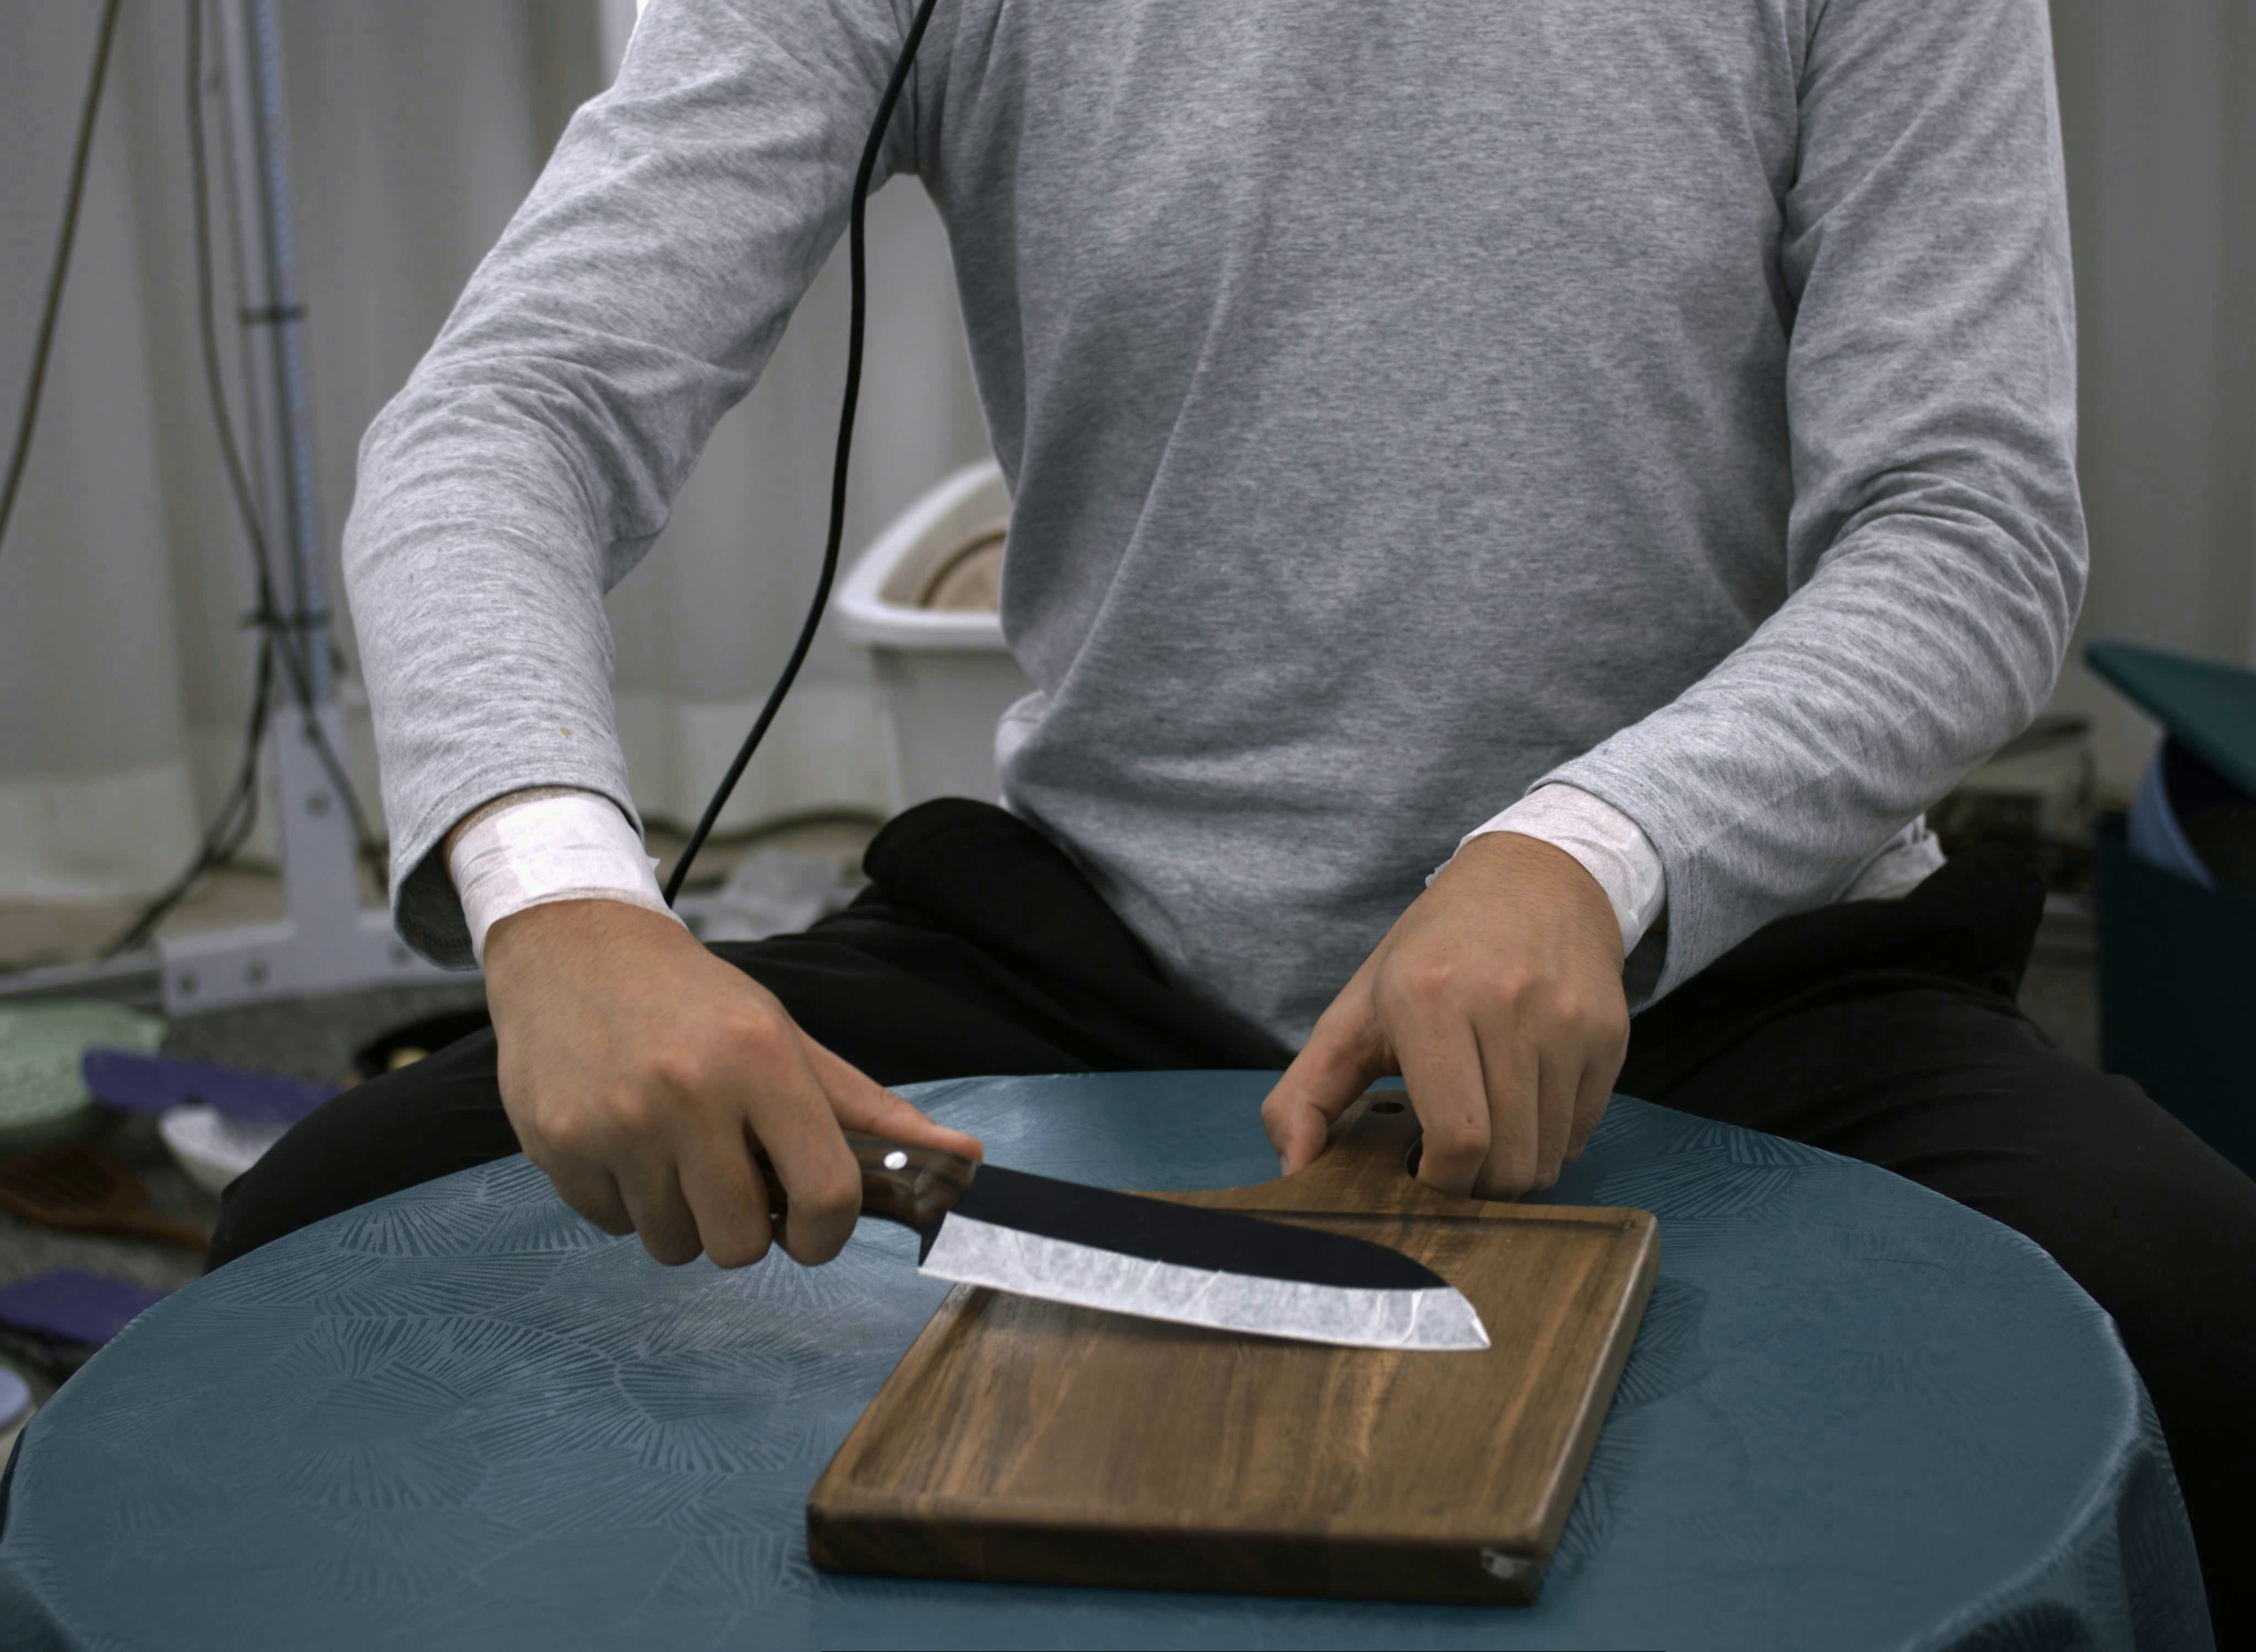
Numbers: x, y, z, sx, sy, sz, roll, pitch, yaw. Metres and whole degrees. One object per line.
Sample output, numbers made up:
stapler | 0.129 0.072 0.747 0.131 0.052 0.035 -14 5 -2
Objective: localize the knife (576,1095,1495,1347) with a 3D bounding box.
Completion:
knife | -0.031 0.114 1.570 0.289 0.020 0.051 11 47 19

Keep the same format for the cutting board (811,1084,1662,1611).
cutting board | 0.048 0.140 1.563 0.201 0.023 0.354 1 16 13
